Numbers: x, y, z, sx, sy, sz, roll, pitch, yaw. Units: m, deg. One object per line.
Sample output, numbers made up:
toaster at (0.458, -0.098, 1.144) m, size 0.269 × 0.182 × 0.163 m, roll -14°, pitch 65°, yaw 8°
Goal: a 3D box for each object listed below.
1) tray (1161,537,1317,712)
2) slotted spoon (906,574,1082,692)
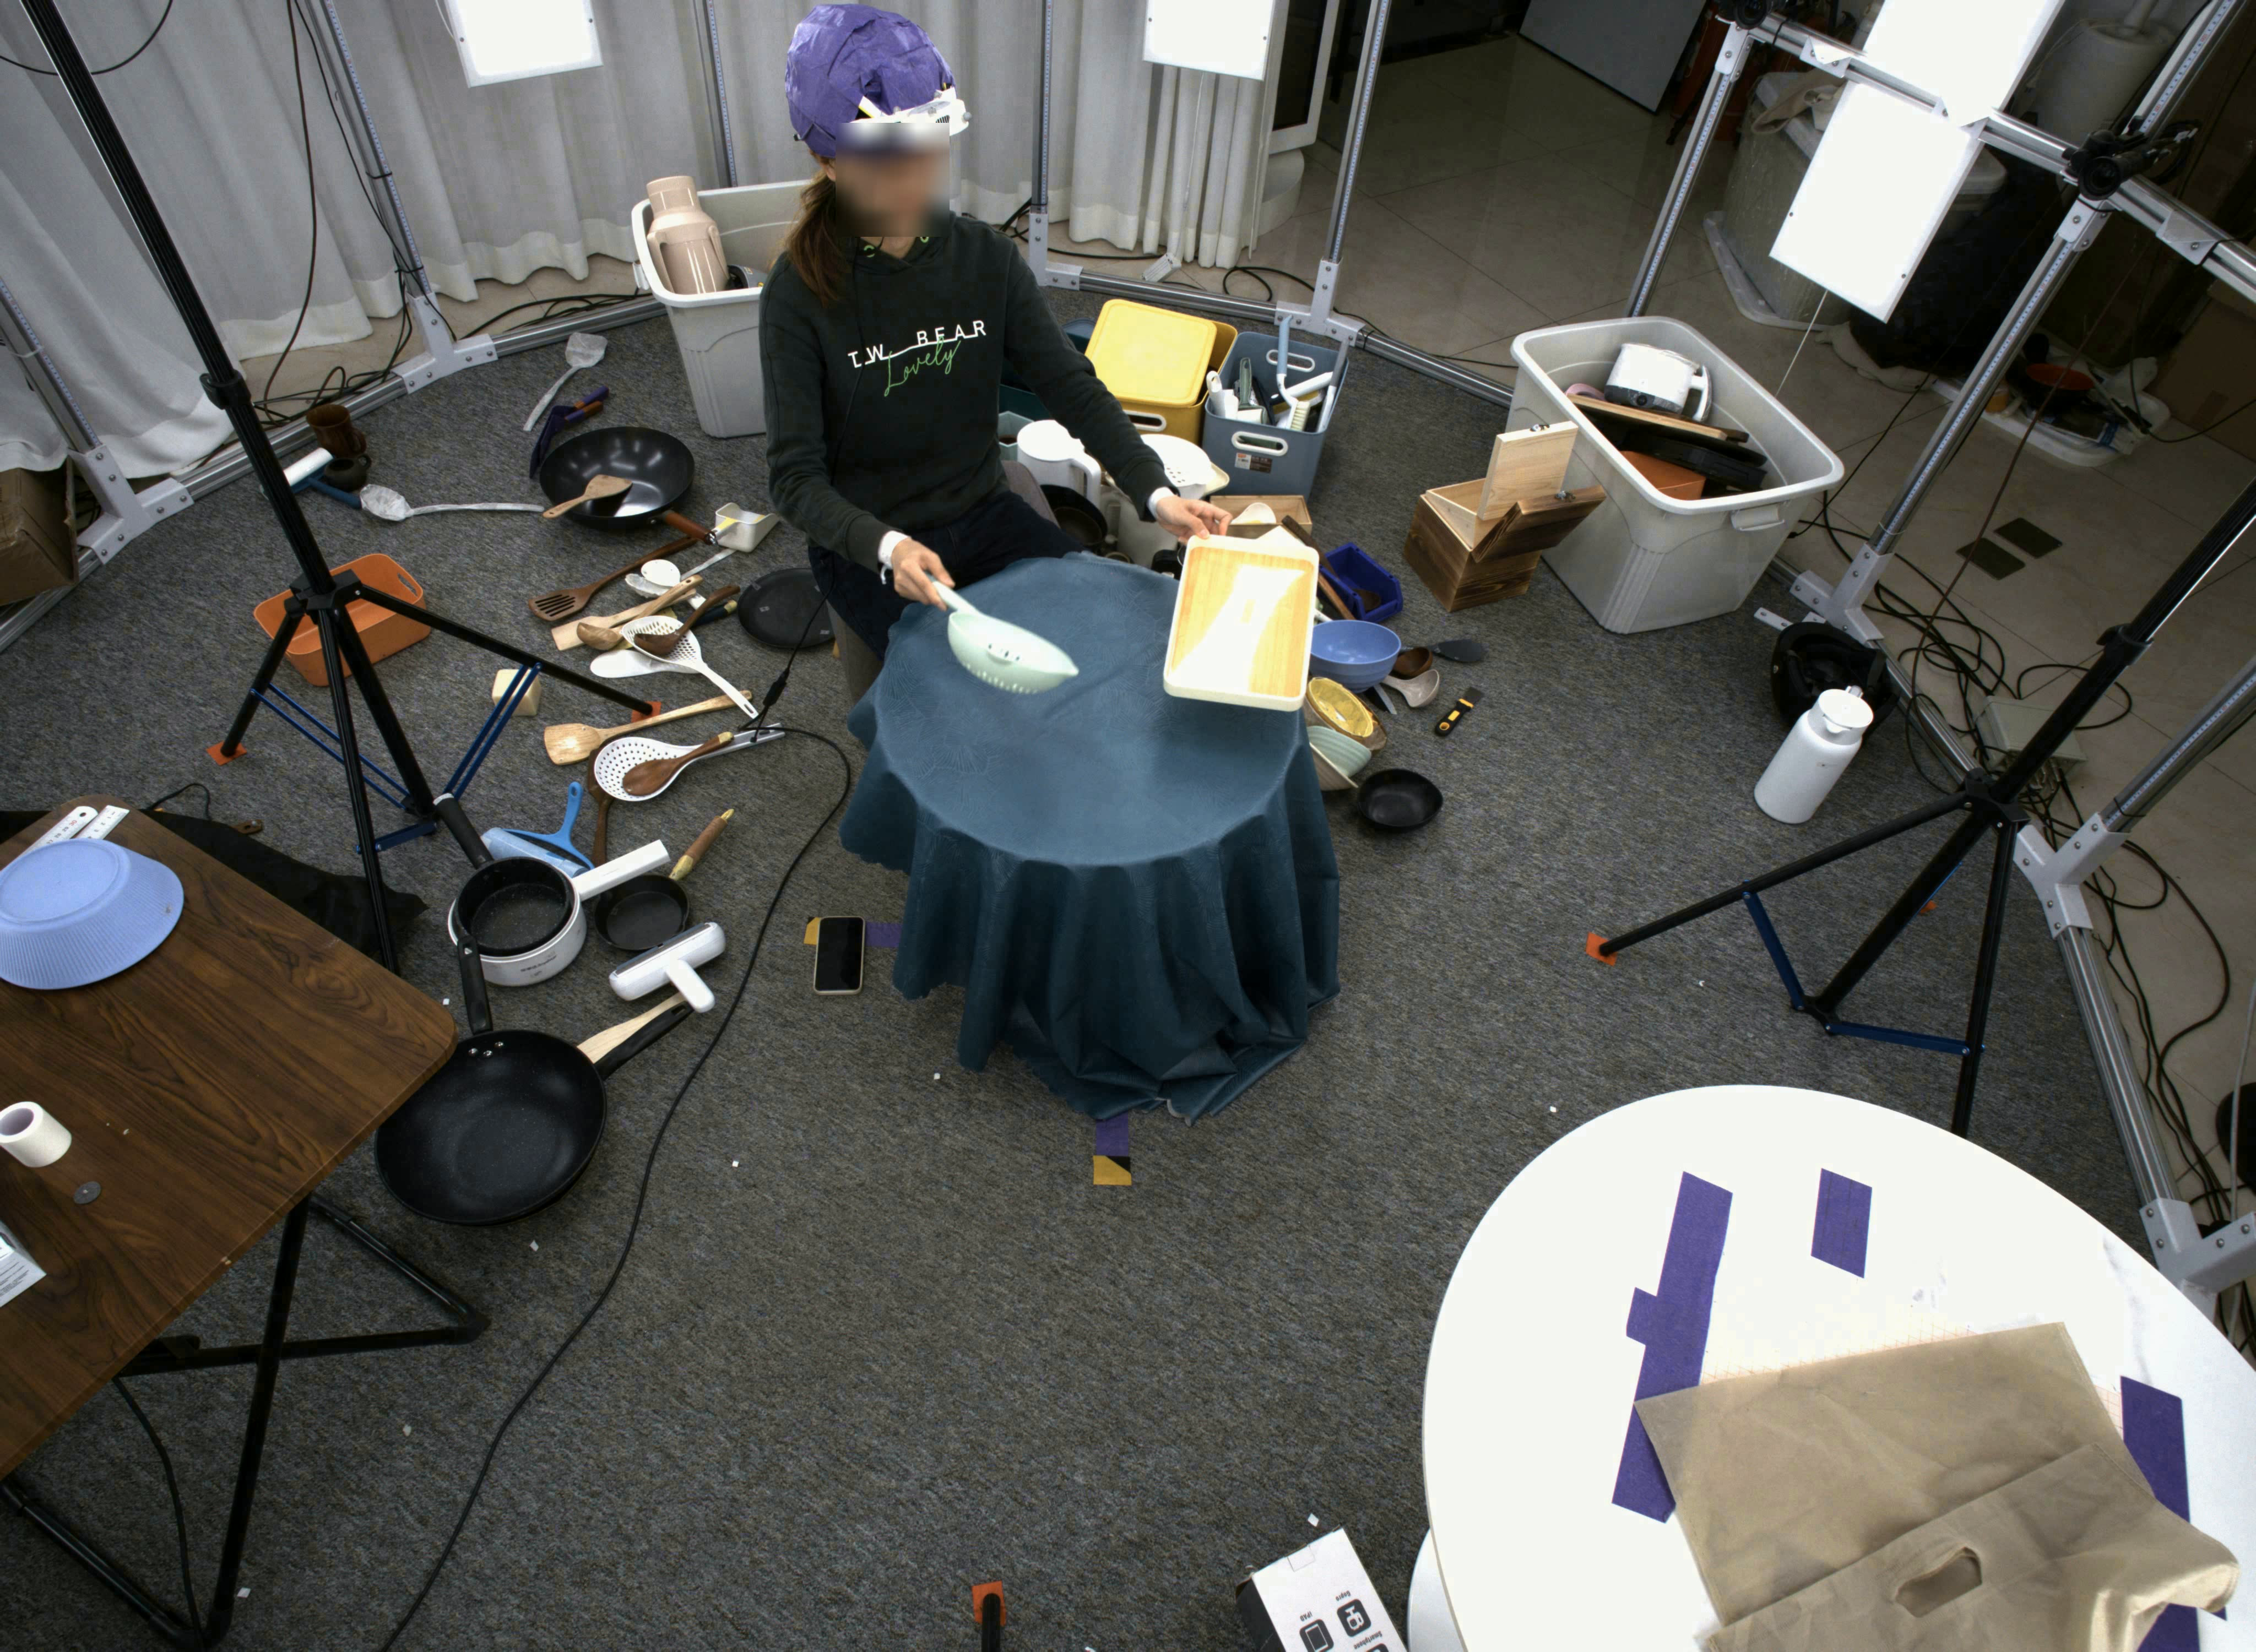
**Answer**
tray at (0.159, -0.288, 1.798) m, size 0.192 × 0.027 × 0.307 m, roll 8°, pitch 52°, yaw 5°
slotted spoon at (-0.205, -0.271, 1.707) m, size 0.168 × 0.074 × 0.366 m, roll 8°, pitch 30°, yaw -42°
